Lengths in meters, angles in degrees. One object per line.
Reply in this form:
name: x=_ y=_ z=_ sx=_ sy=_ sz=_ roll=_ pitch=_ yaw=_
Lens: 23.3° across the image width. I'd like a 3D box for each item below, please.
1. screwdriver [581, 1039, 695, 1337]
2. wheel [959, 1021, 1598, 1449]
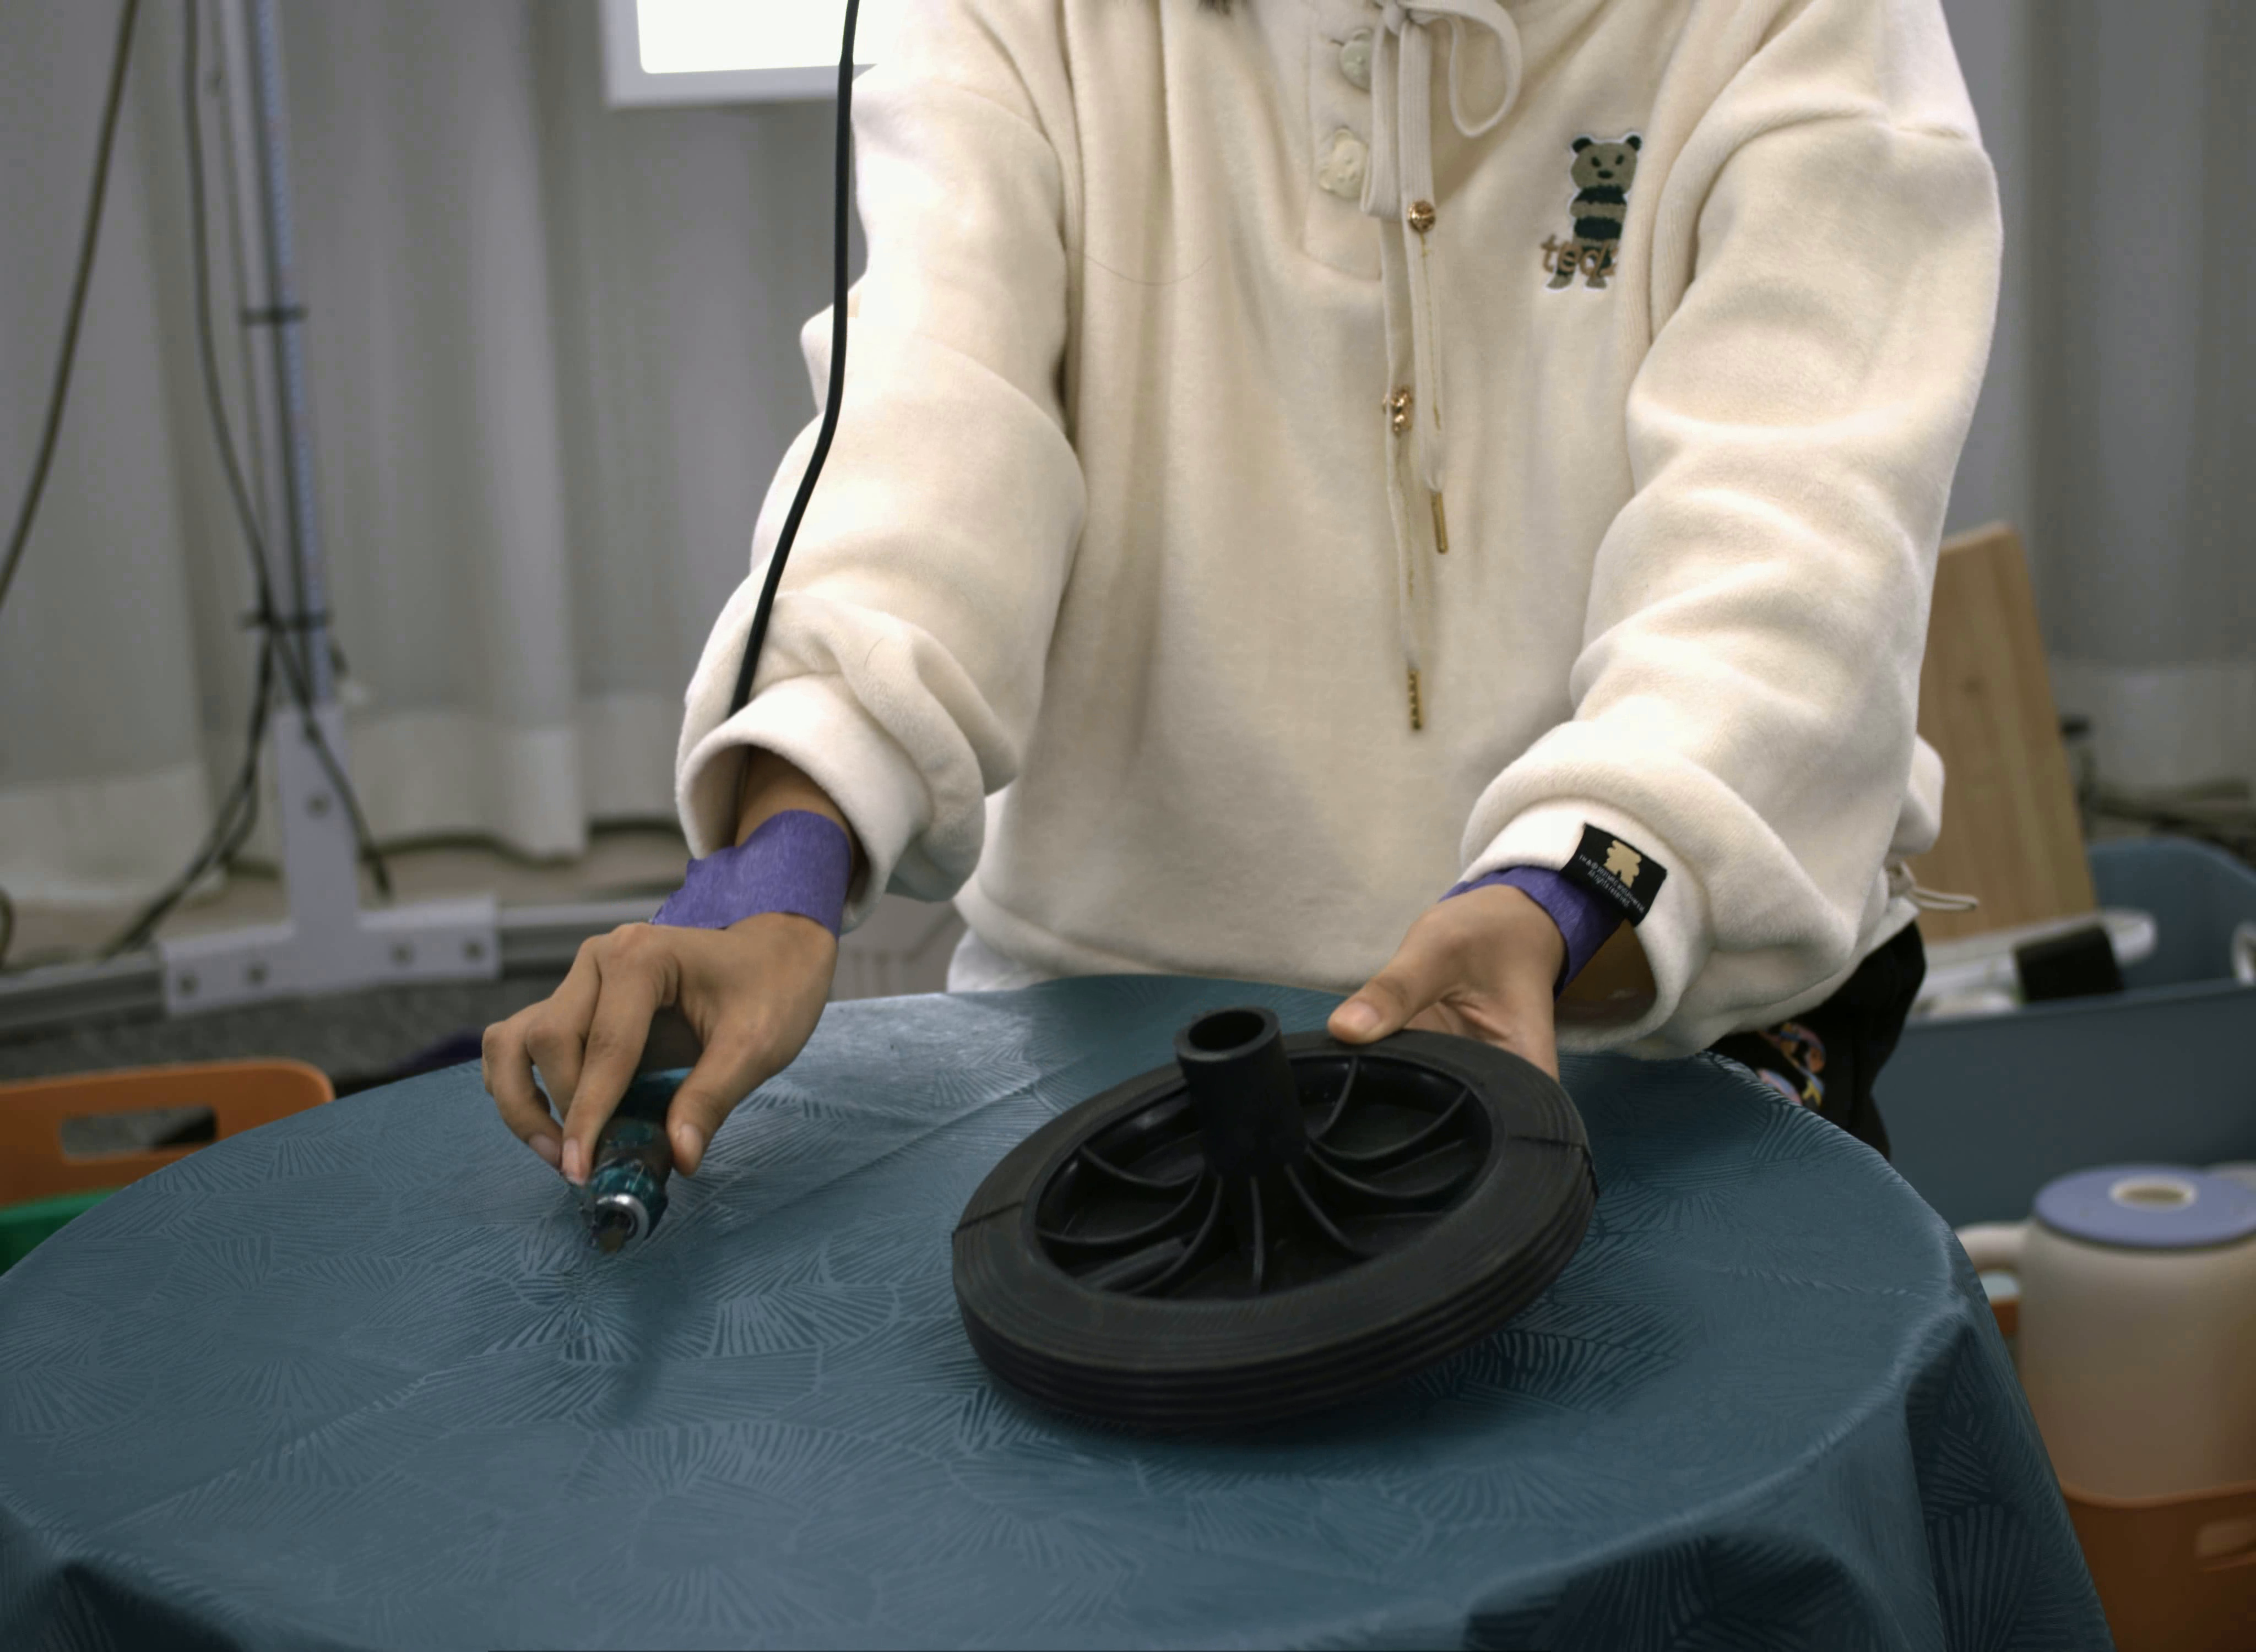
screwdriver: x=-0.151 y=0.111 z=1.640 sx=0.033 sy=0.033 sz=0.192 roll=-2 pitch=20 yaw=1
wheel: x=0.037 y=0.098 z=1.563 sx=0.188 sy=0.078 sz=0.190 roll=11 pitch=37 yaw=43
